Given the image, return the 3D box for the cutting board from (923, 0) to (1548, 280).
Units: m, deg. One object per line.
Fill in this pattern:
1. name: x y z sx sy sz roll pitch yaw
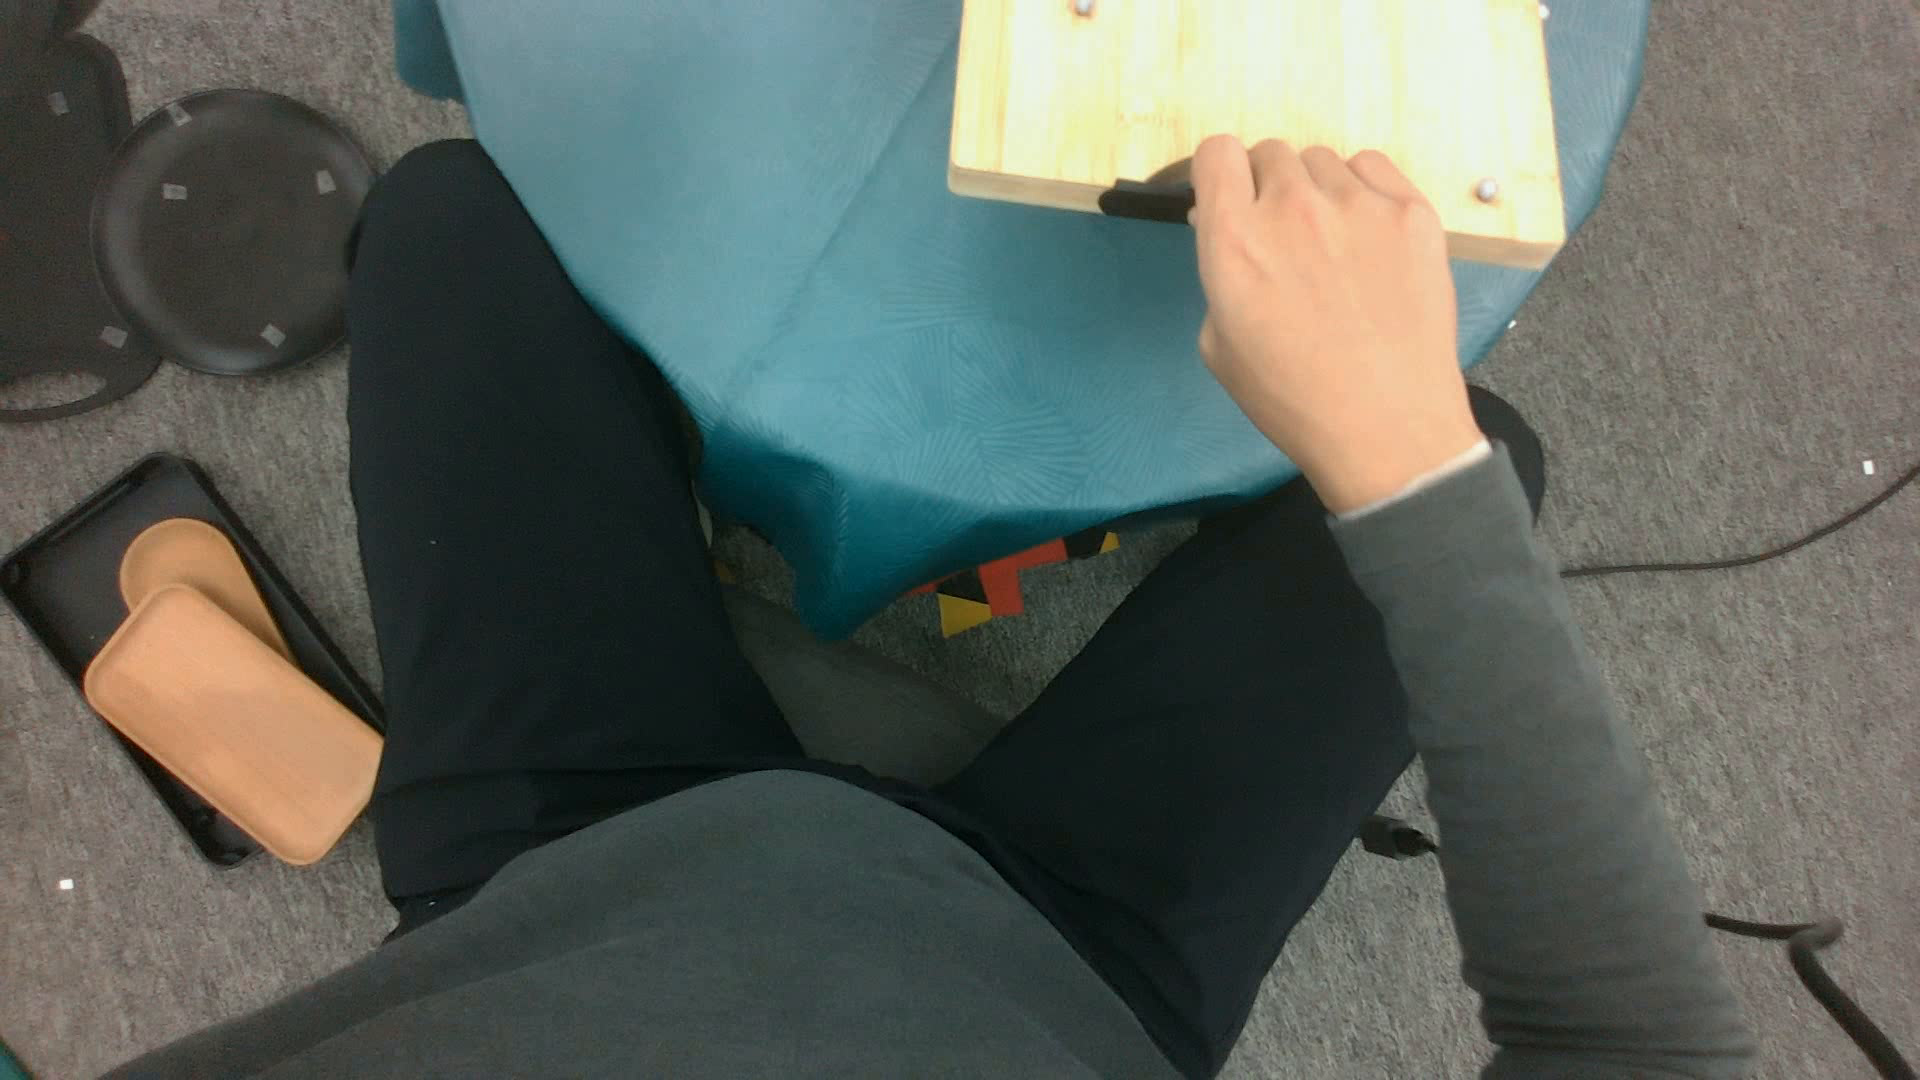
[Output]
1. cutting board: 0.121 -0.276 0.599 0.251 0.023 0.350 6 66 -4
